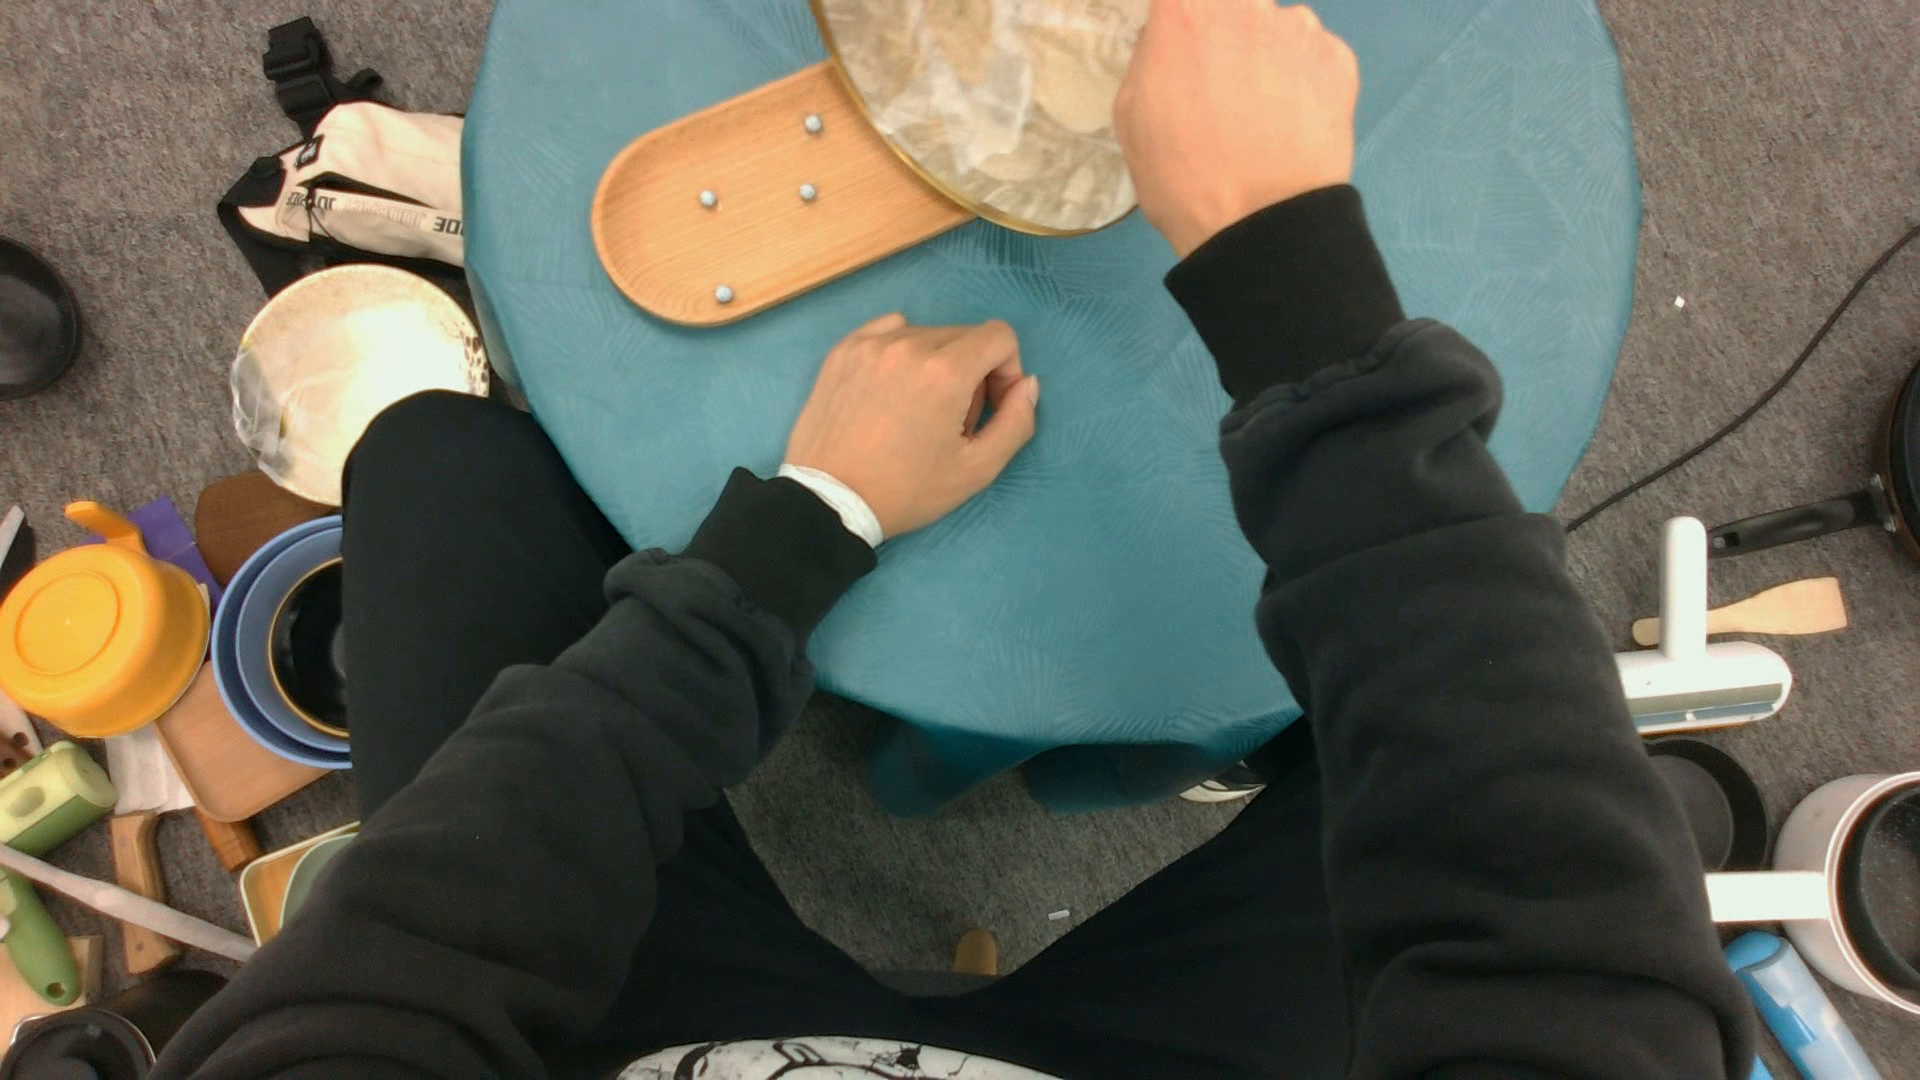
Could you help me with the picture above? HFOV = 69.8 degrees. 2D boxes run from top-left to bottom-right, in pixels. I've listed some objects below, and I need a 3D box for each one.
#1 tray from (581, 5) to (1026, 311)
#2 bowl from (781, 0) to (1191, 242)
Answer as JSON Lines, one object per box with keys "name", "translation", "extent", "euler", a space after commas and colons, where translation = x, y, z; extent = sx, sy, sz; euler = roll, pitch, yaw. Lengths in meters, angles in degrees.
{"name": "tray", "translation": [-0.074, -0.189, 0.681], "extent": [0.231, 0.020, 0.101], "euler": [-26, 87, -11]}
{"name": "bowl", "translation": [0.022, -0.246, 0.607], "extent": [0.214, 0.214, 0.095], "euler": [39, 63, 1]}
